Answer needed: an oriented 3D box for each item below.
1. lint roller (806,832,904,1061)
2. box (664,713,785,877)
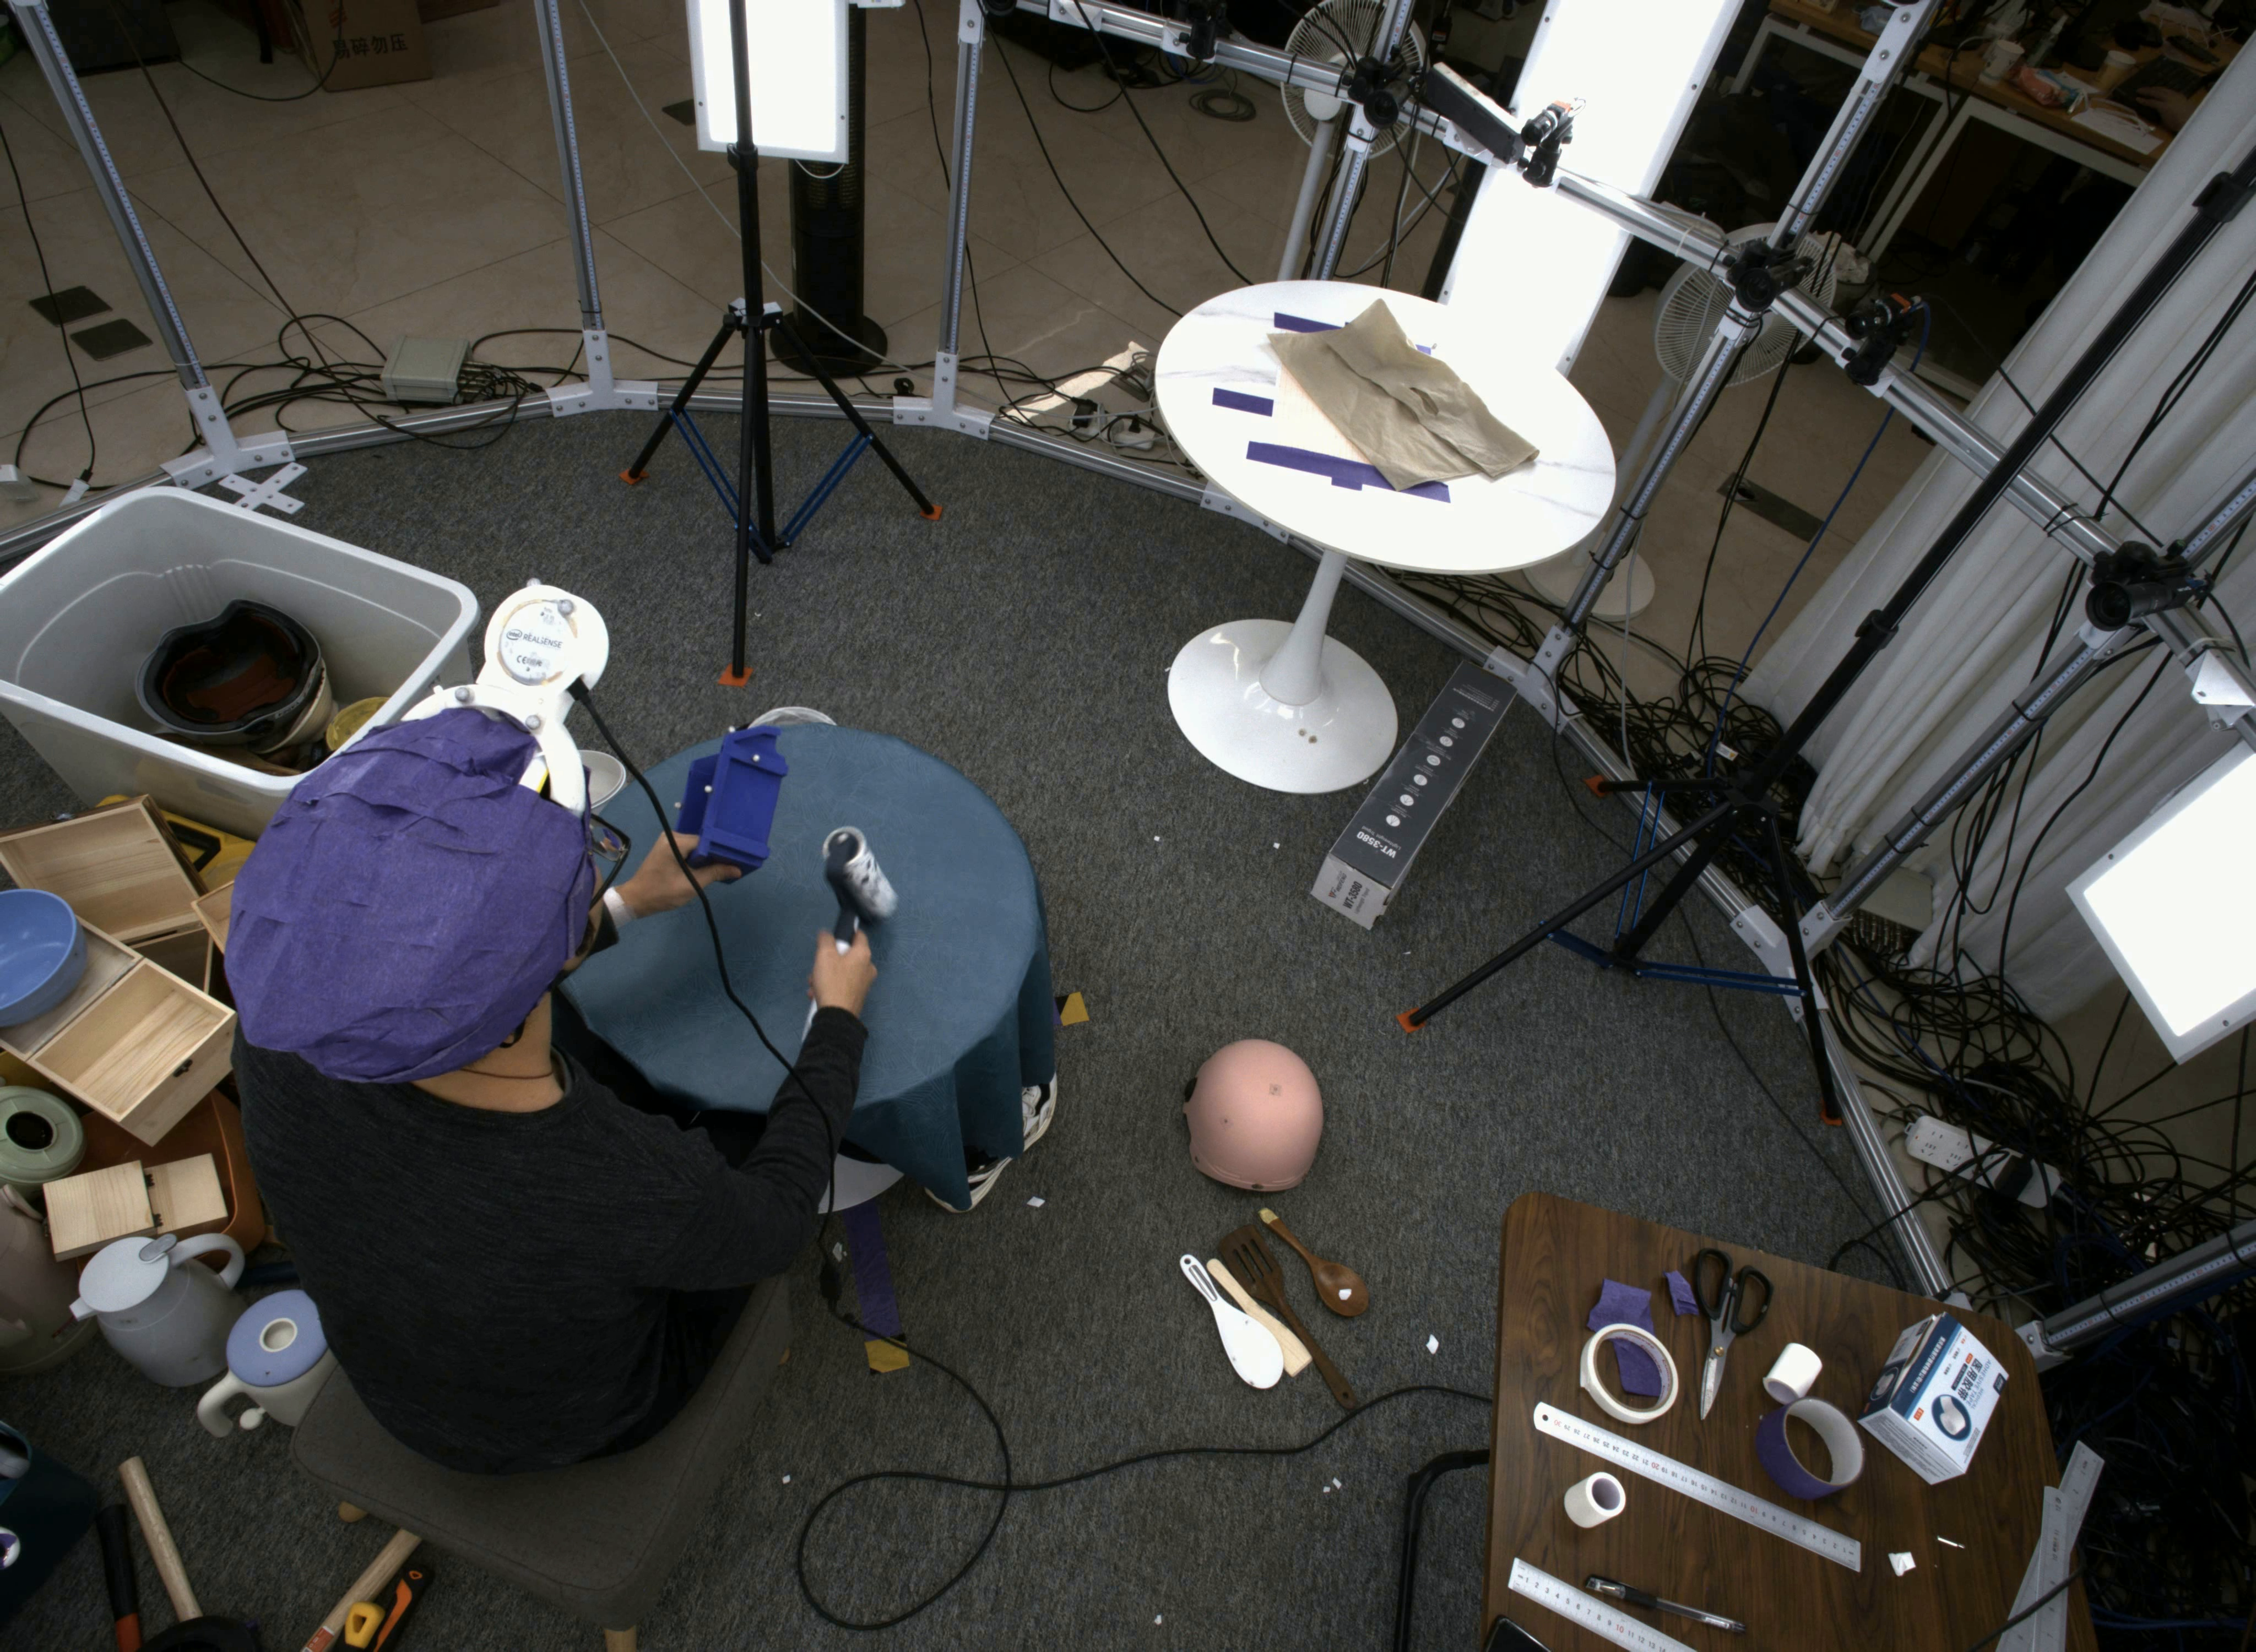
[{"bbox_3d":[-0.331,0.153,1.524,0.049,0.182,0.245,1,64,13],"label":"lint roller"},{"bbox_3d":[-0.471,-0.036,1.512,0.084,0.122,0.178,18,67,-35],"label":"box"}]
